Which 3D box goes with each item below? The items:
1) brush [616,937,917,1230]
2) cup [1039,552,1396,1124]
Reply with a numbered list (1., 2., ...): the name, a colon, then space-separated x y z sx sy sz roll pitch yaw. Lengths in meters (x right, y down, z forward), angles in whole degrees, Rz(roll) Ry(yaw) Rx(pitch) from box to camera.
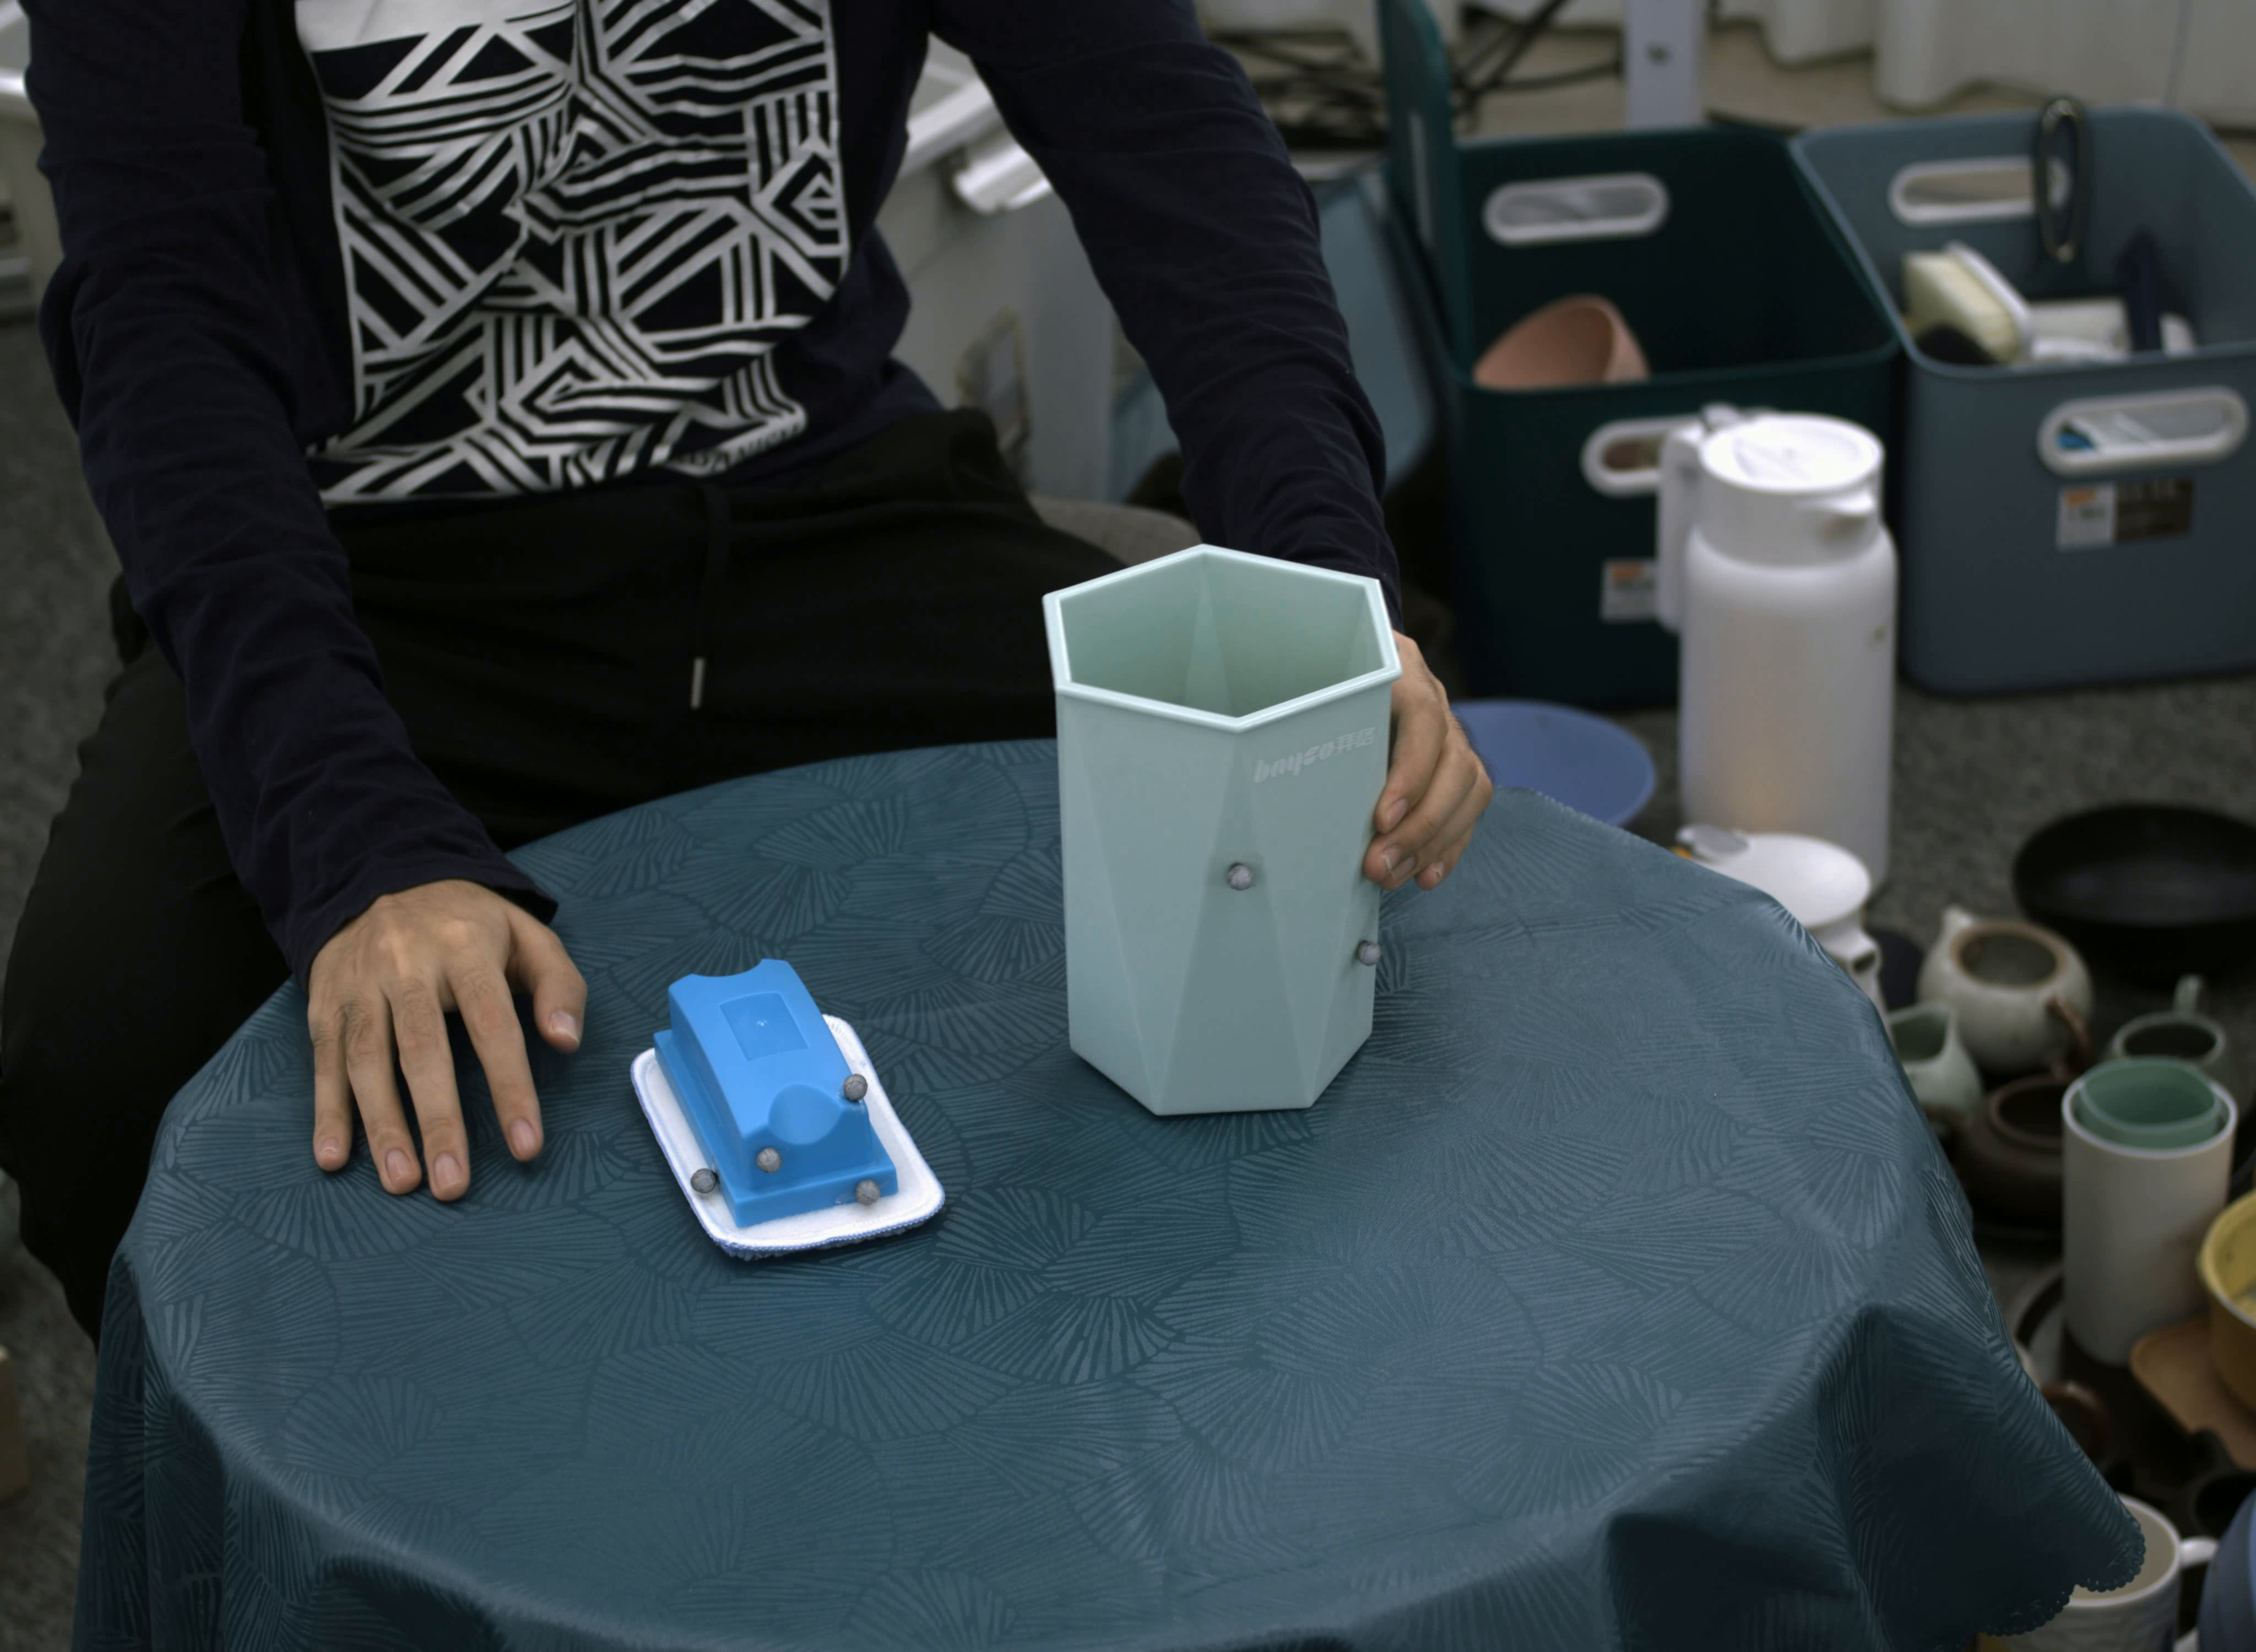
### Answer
1. brush: -0.121 0.082 1.882 0.084 0.055 0.145 -7 30 -14
2. cup: 0.032 0.007 1.901 0.132 0.161 0.115 -19 30 -31
